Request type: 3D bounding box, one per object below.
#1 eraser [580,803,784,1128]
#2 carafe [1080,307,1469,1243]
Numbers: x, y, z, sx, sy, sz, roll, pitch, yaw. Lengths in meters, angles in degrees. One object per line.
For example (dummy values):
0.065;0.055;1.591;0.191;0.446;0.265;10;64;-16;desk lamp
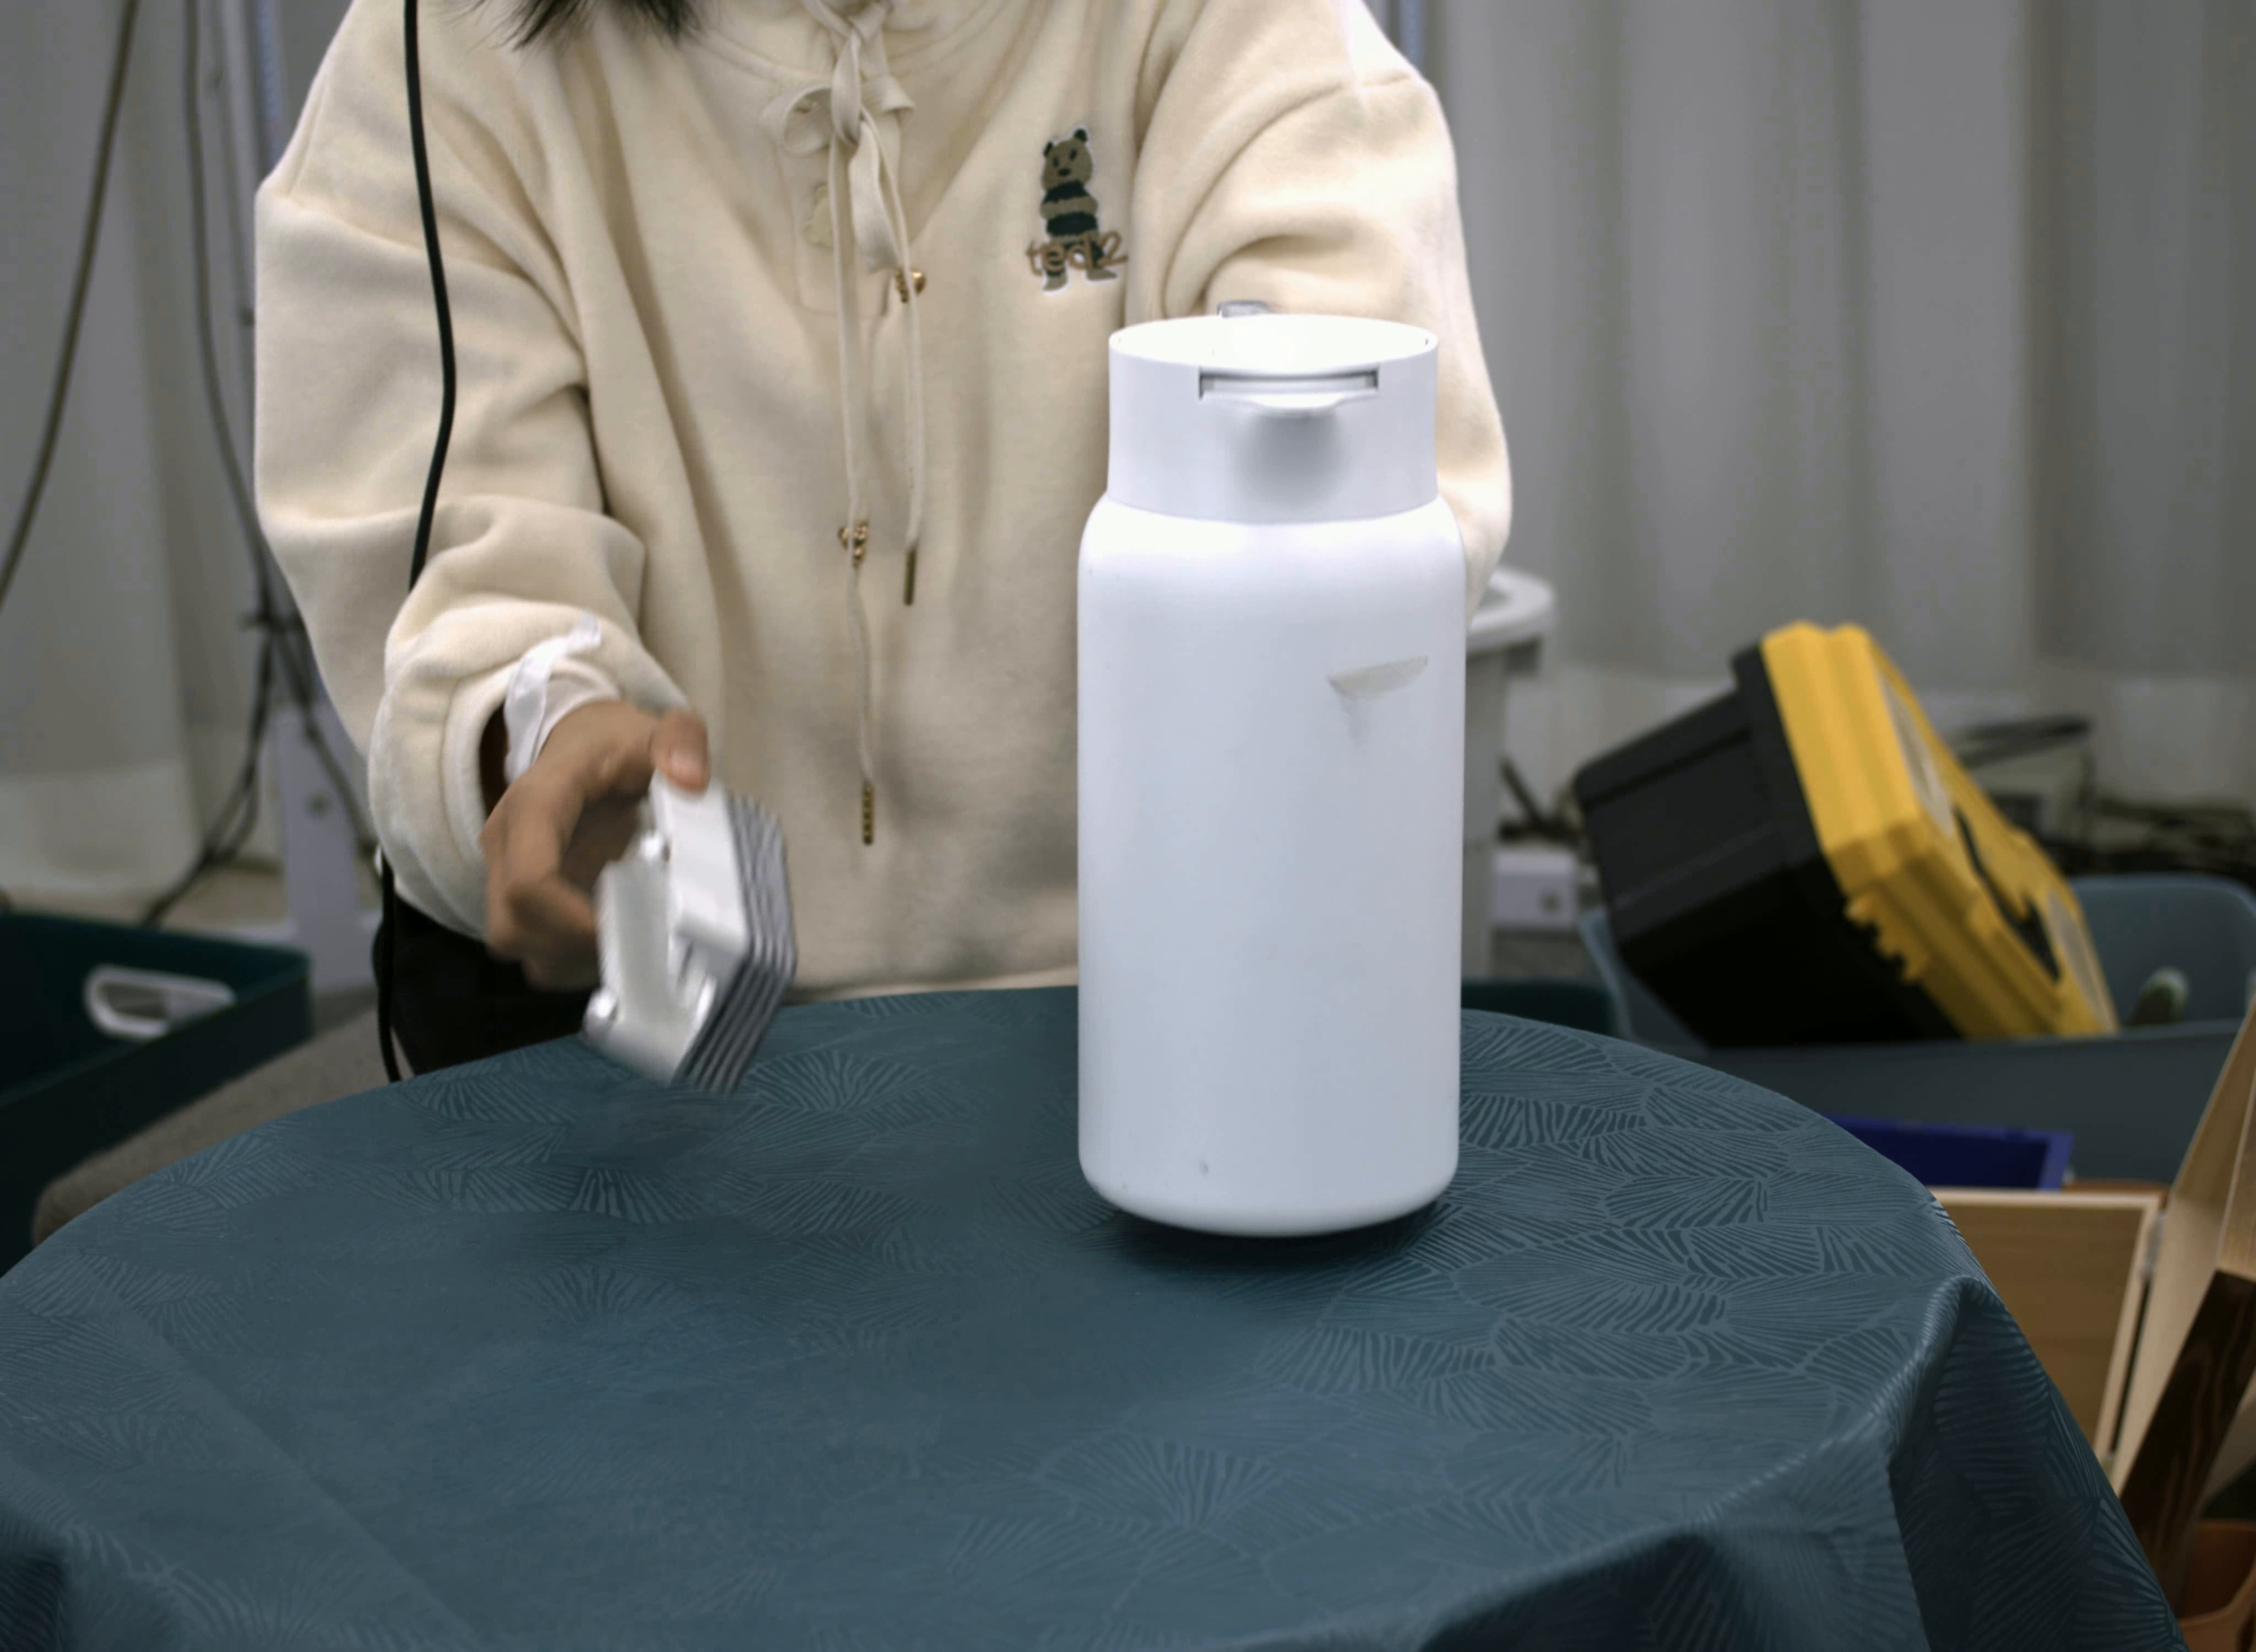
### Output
-0.140;0.043;1.708;0.046;0.049;0.135;26;14;-16;eraser
0.041;-0.020;1.671;0.123;0.268;0.174;-3;13;-4;carafe
